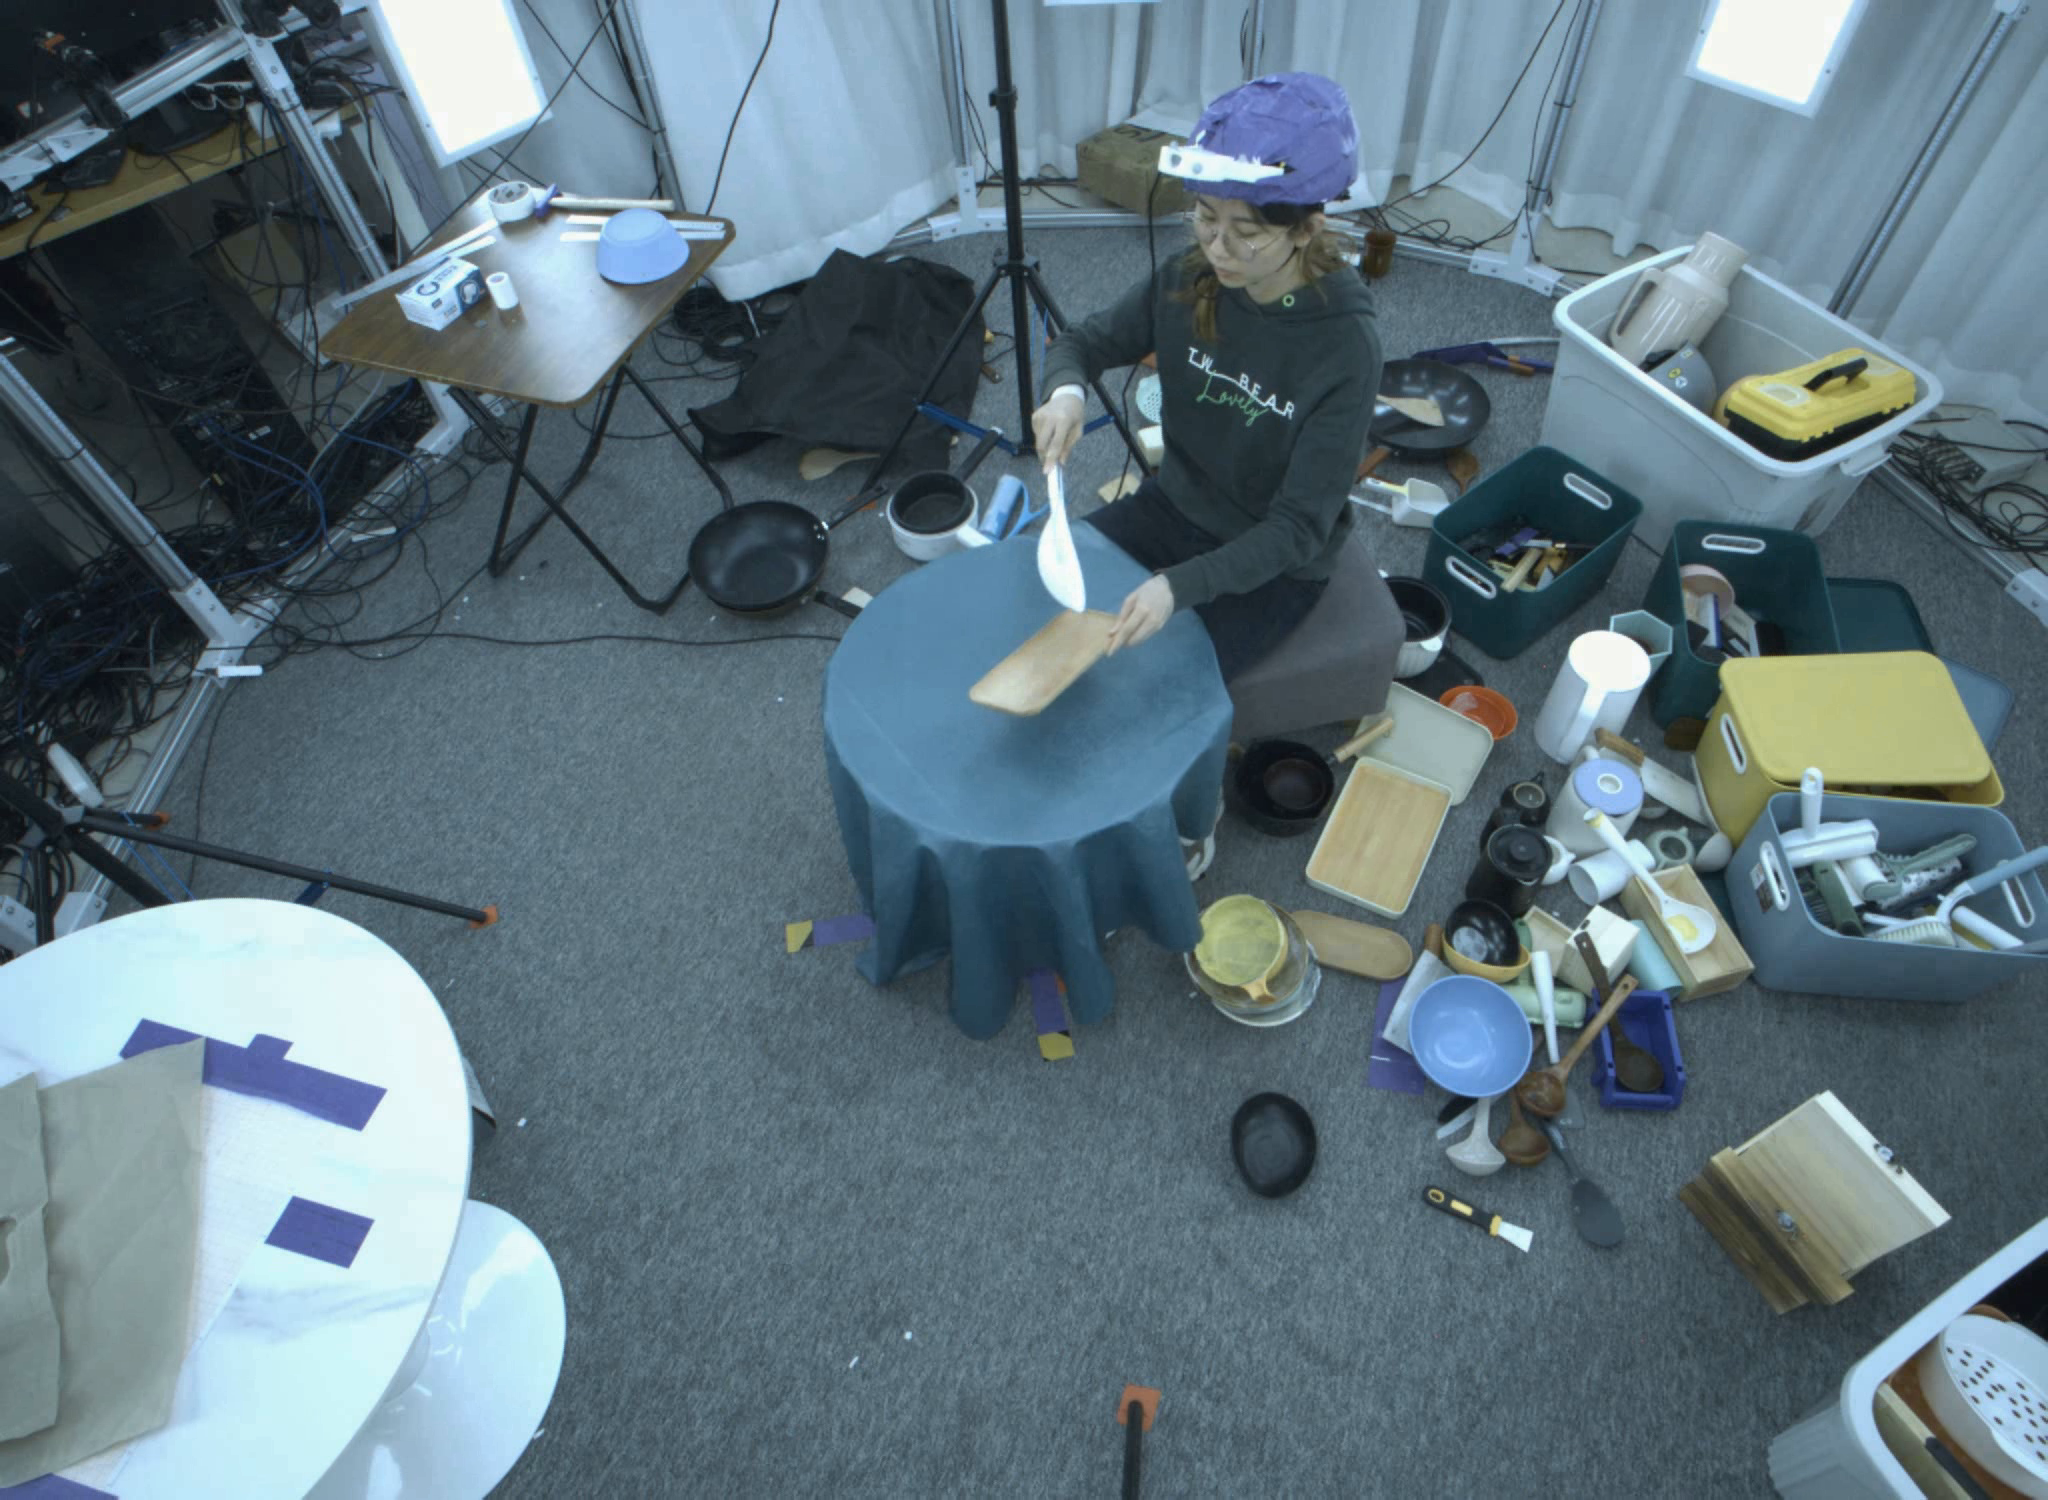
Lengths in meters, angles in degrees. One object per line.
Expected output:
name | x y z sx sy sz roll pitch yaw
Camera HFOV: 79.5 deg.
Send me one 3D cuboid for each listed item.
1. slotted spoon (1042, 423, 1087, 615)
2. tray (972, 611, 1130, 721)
slotted spoon | 0.053 -0.345 1.767 0.045 0.139 0.346 -8 60 17
tray | 0.041 -0.122 1.753 0.127 0.023 0.252 19 47 36
